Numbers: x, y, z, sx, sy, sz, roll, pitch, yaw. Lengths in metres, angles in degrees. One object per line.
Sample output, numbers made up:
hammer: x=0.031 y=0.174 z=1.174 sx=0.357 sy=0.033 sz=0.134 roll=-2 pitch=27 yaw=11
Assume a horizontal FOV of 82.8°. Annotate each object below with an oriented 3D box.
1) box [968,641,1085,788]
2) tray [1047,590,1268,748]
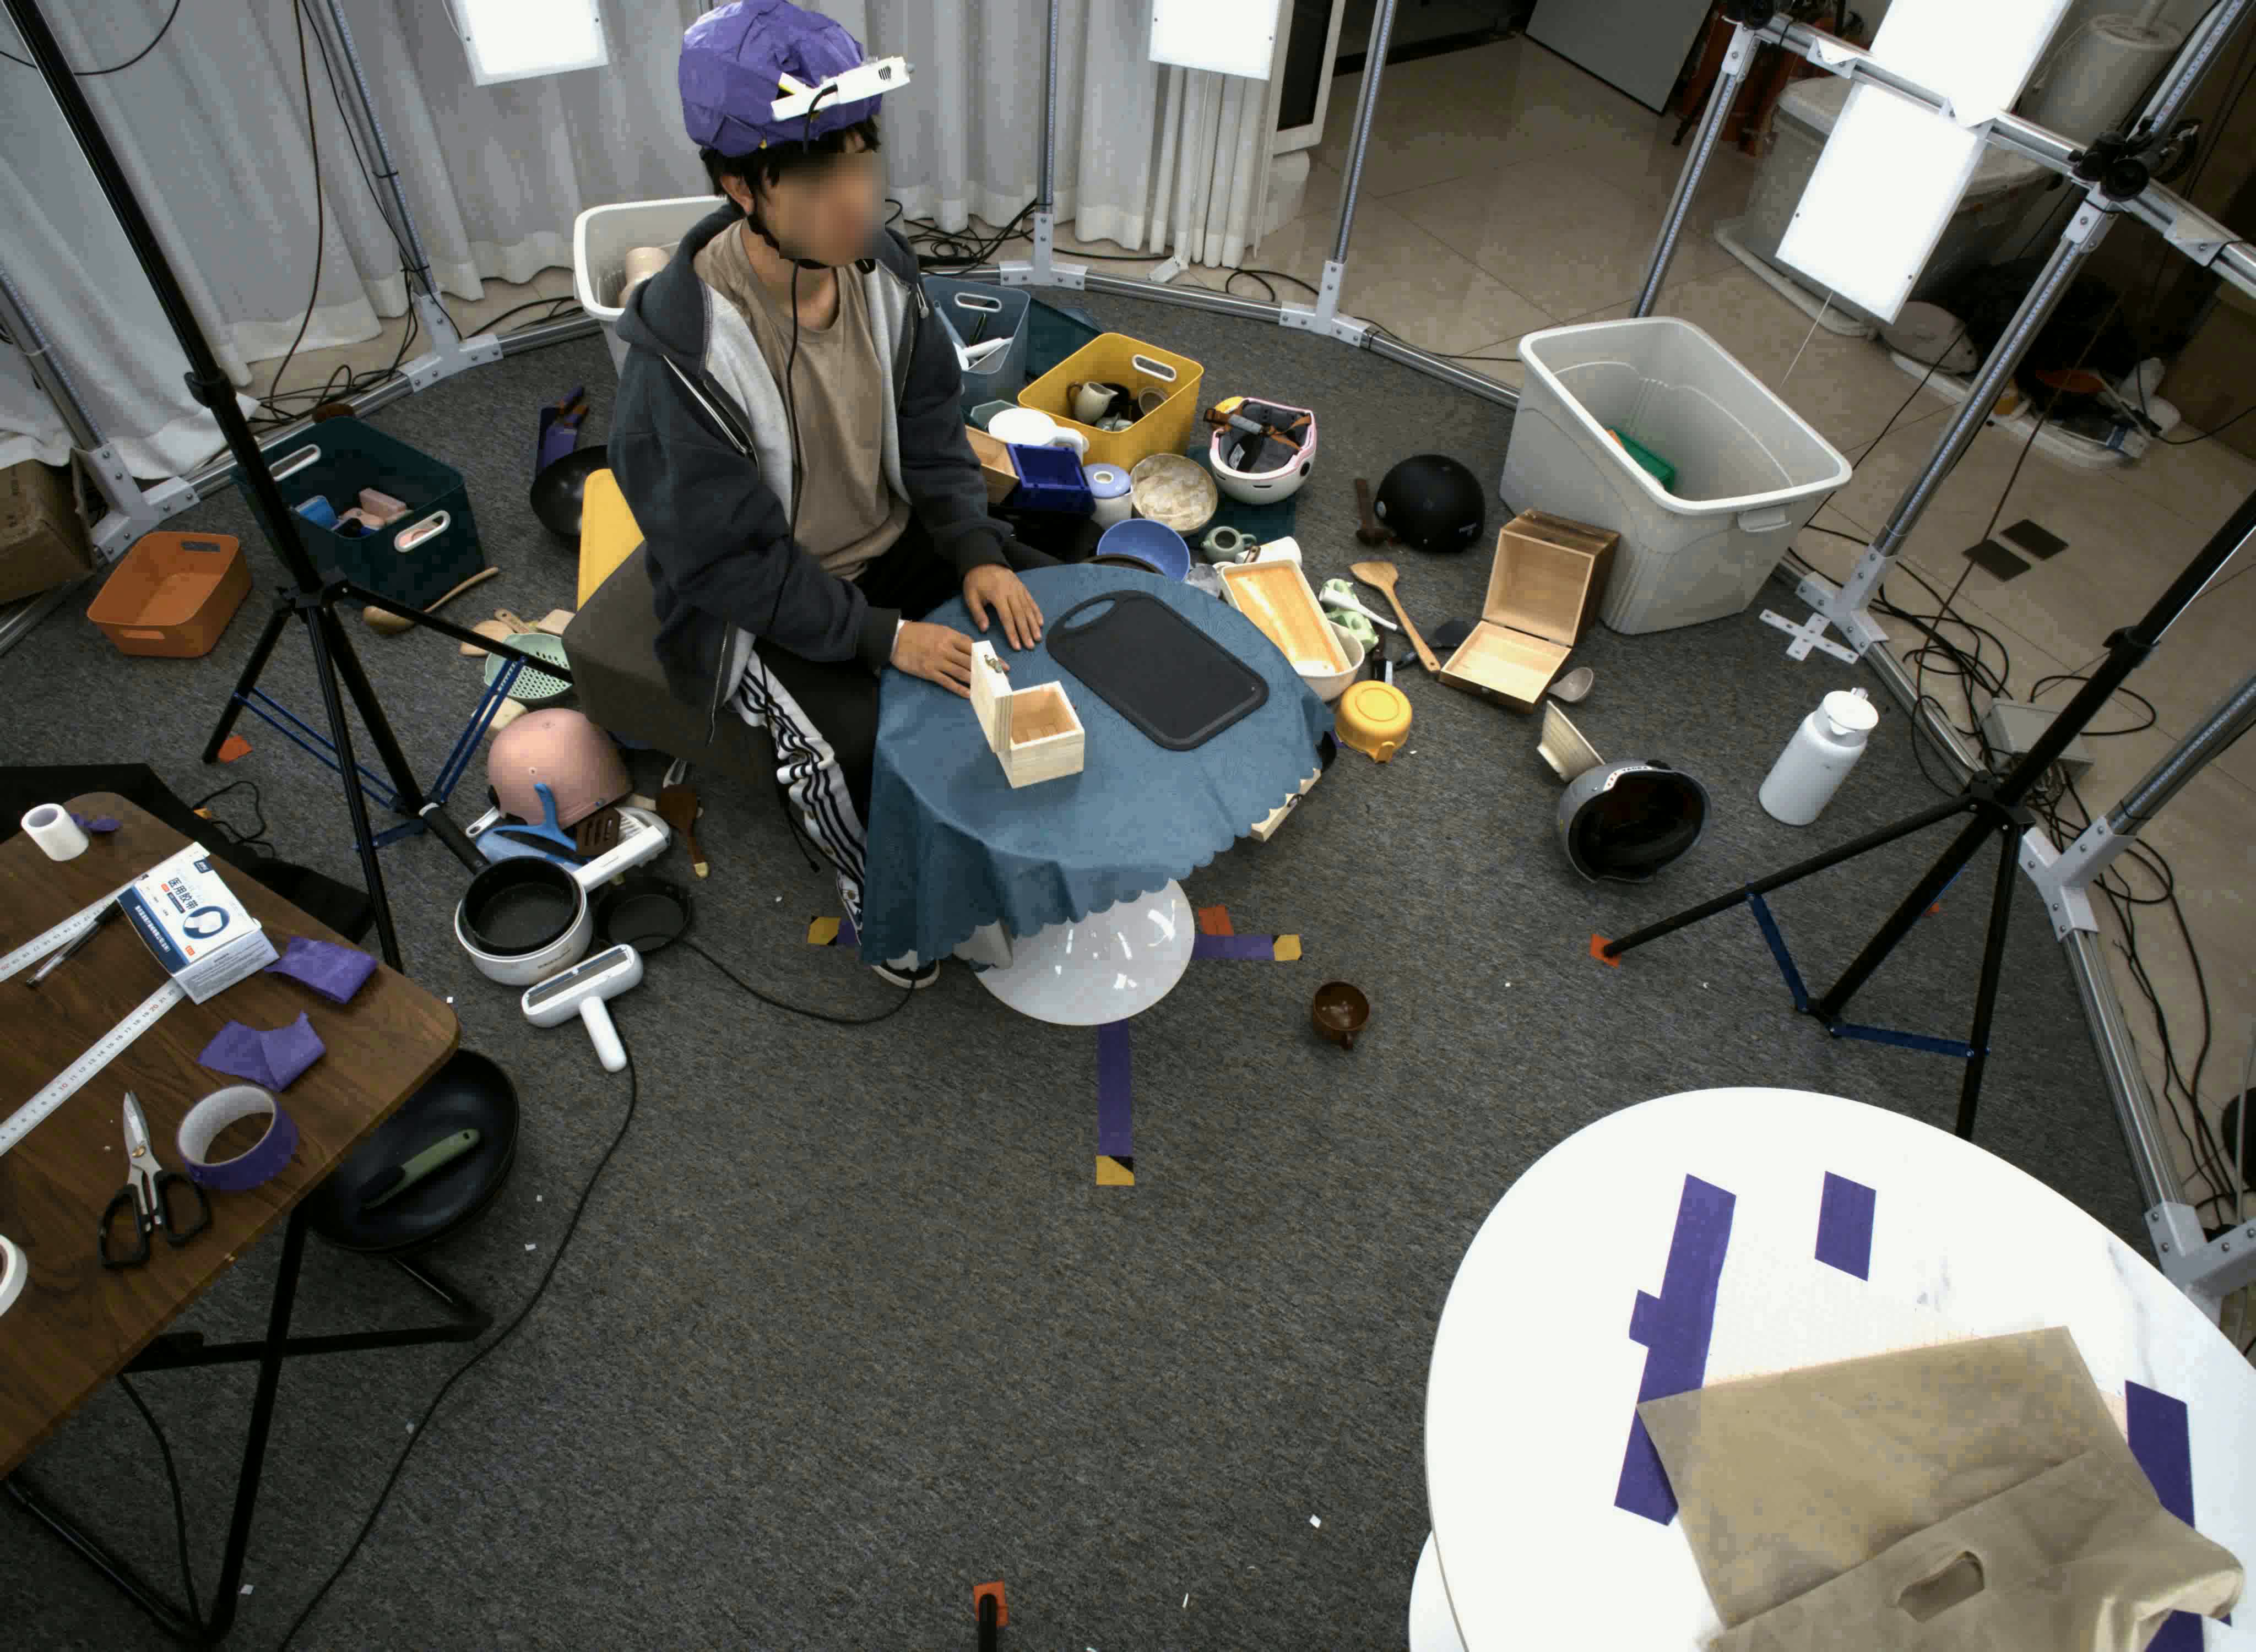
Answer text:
box: x=-0.129 y=-0.153 z=1.671 sx=0.134 sy=0.180 sz=0.105 roll=-16 pitch=52 yaw=-15
tray: x=0.034 y=-0.240 z=1.873 sx=0.212 sy=0.009 sz=0.331 roll=-32 pitch=58 yaw=-28
